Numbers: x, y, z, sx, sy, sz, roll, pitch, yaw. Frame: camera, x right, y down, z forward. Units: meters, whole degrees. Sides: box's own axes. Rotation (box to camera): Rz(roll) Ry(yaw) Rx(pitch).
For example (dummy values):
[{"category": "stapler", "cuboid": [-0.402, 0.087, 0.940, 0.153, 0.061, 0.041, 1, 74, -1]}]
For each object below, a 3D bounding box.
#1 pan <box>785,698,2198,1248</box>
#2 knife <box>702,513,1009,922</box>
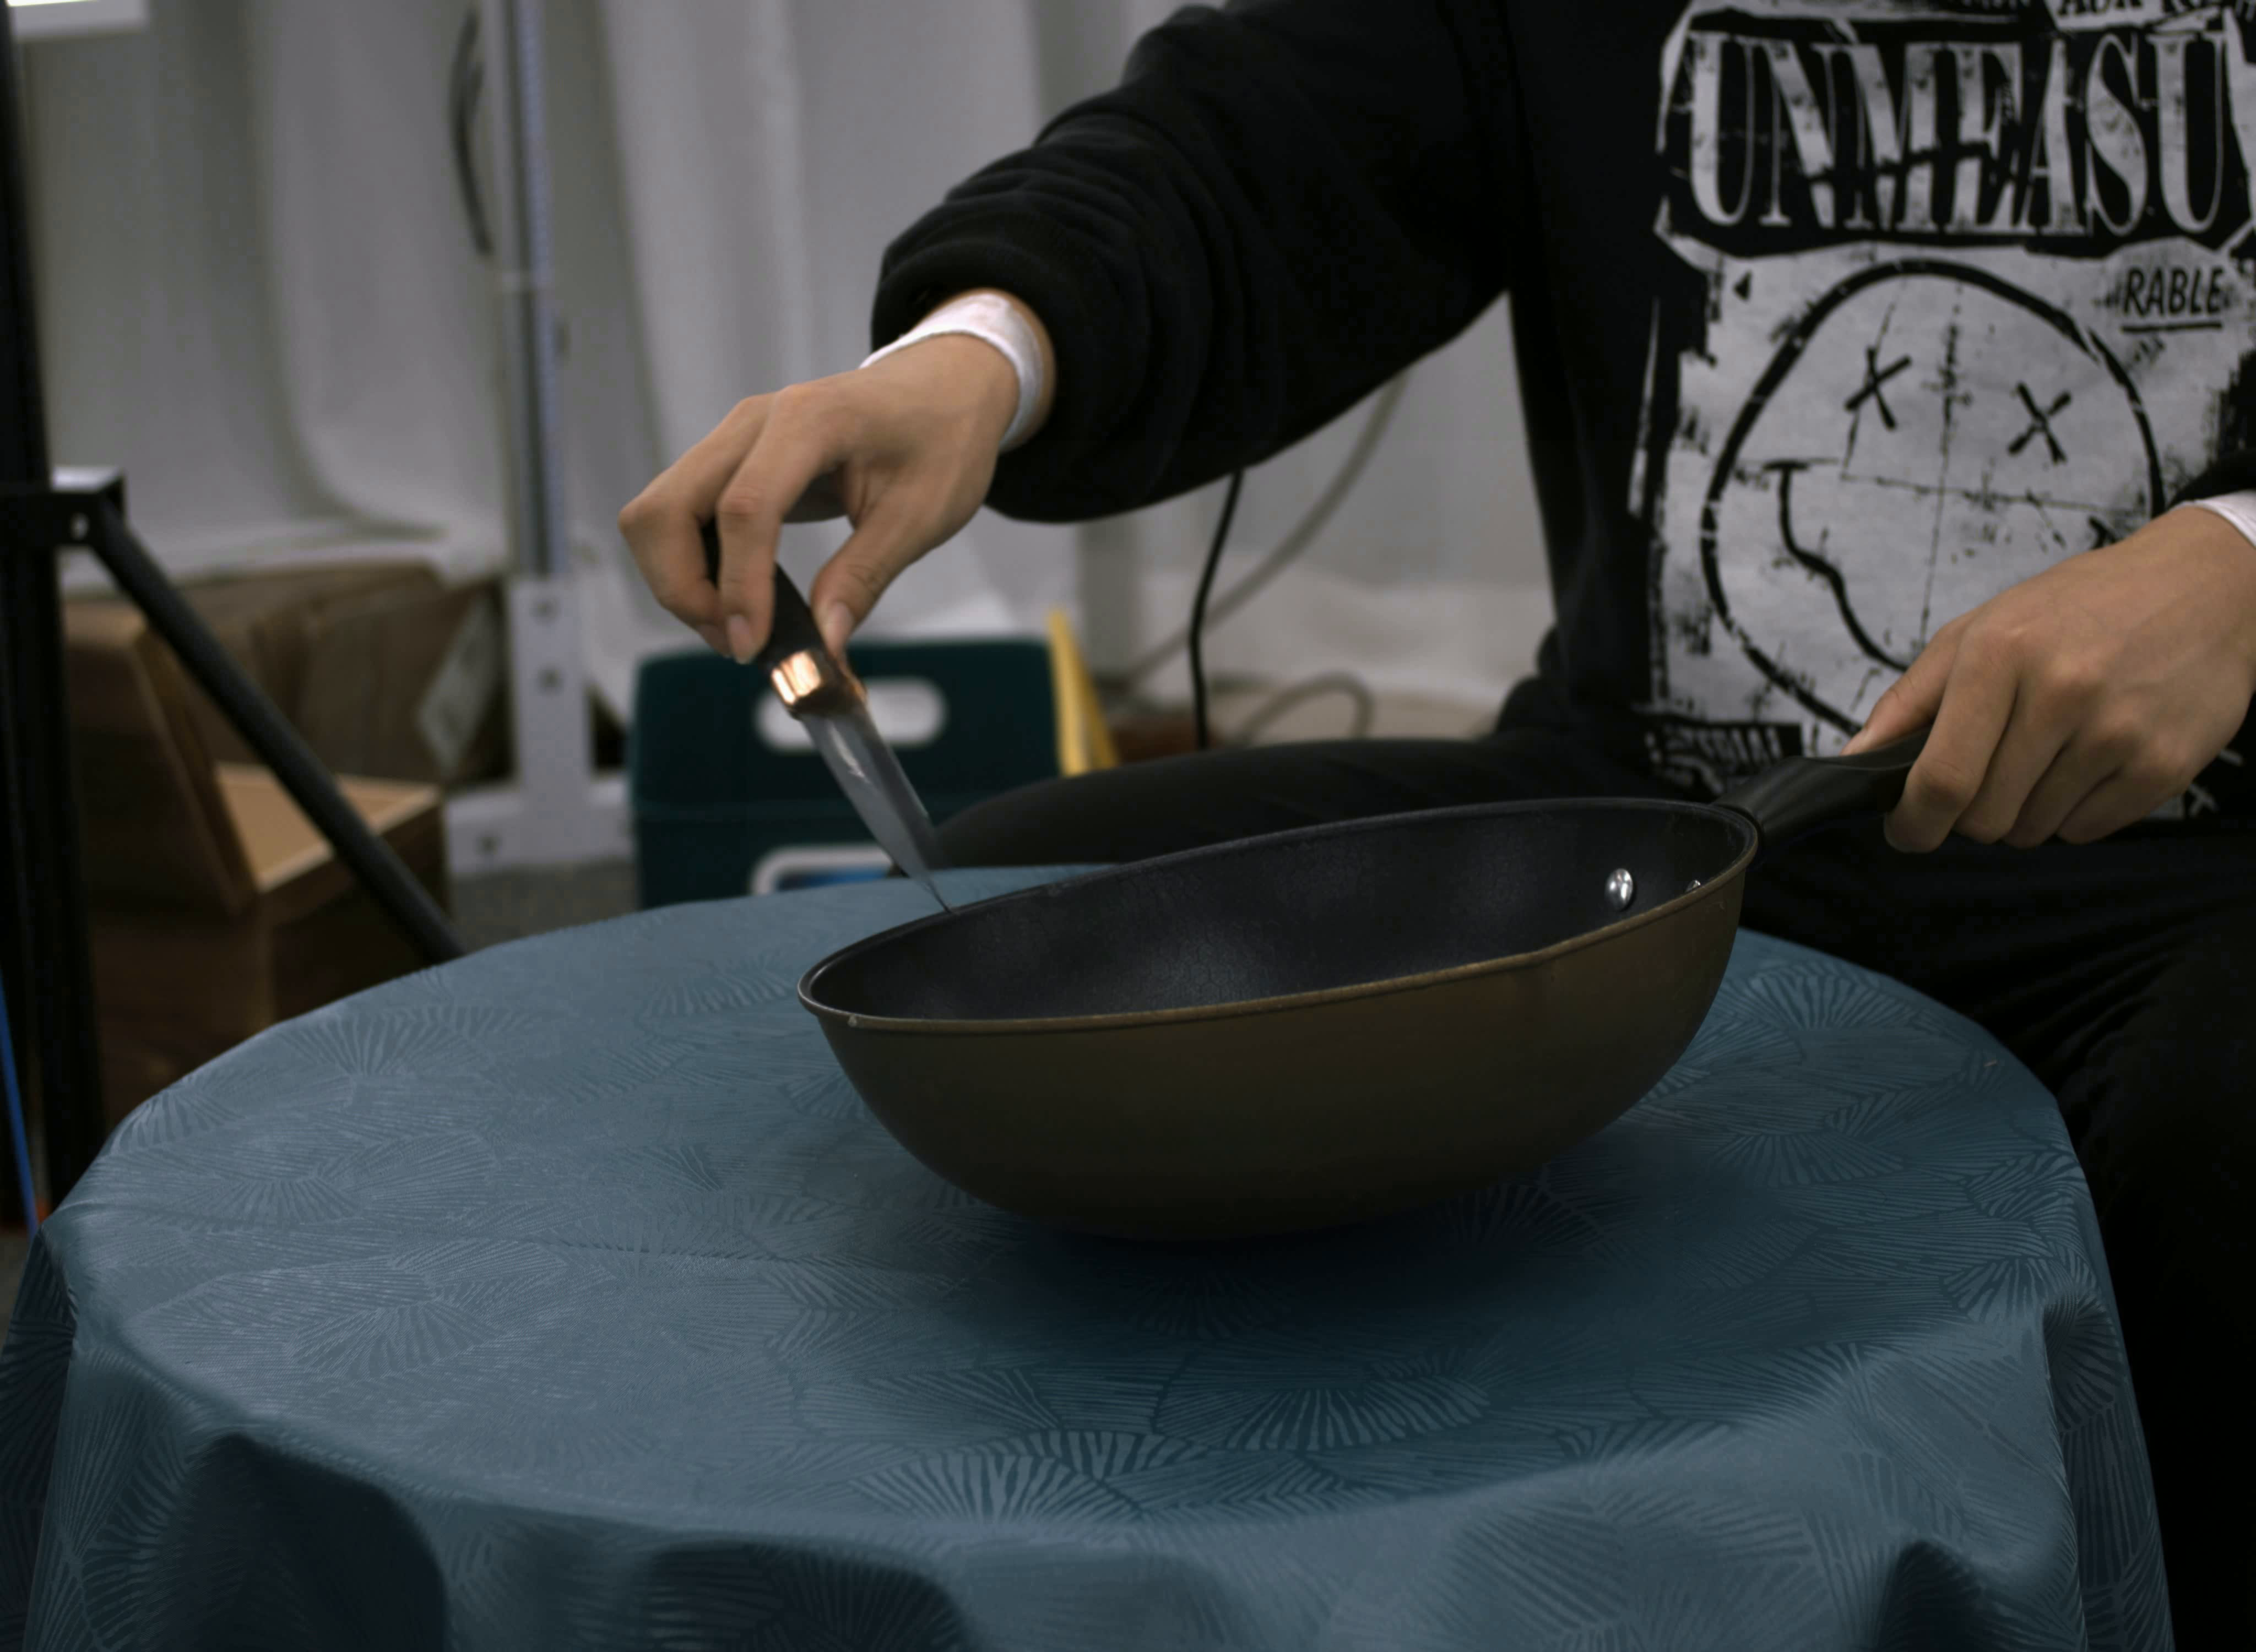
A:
[{"category": "pan", "cuboid": [0.125, 0.043, 1.555, 0.454, 0.087, 0.293, -13, 9, -24]}, {"category": "knife", "cuboid": [-0.086, -0.035, 1.627, 0.025, 0.017, 0.230, -4, 35, -25]}]
